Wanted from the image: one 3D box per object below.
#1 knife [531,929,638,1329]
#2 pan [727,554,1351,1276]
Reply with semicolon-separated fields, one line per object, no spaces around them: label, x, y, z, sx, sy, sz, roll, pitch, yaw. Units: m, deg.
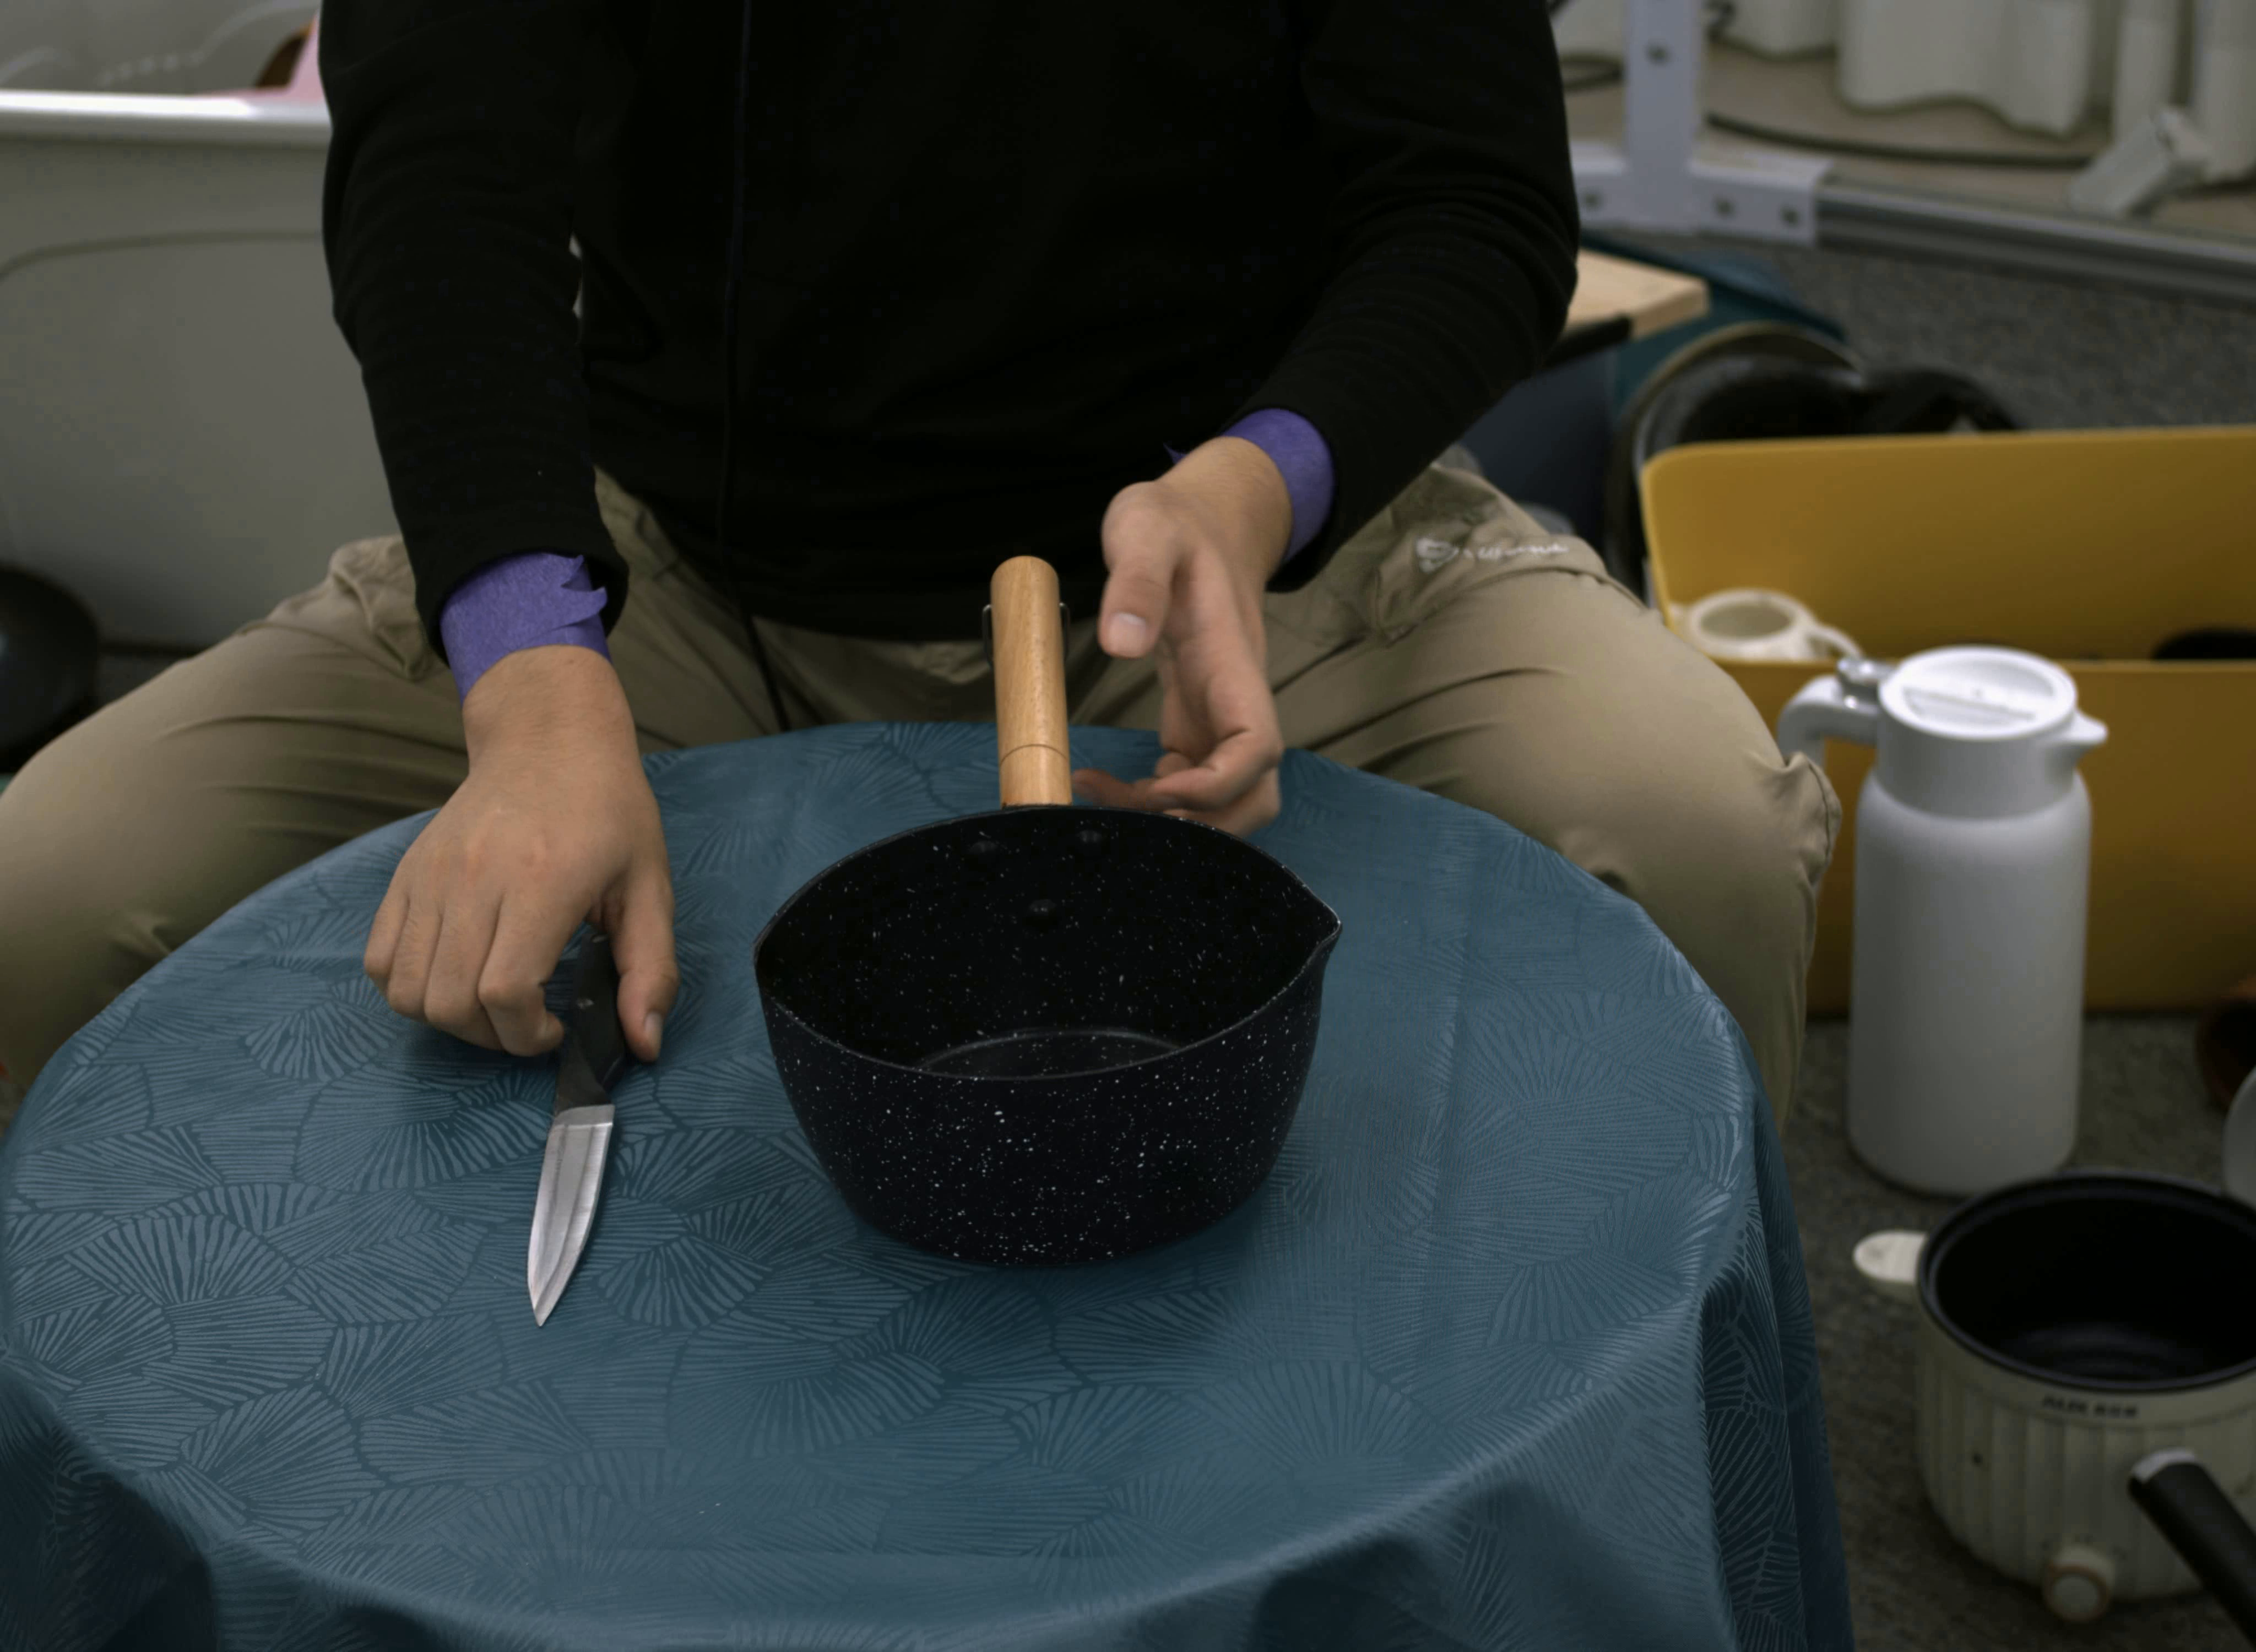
knife;-0.186;0.102;1.904;0.024;0.016;0.242;-4;30;3
pan;-0.031;0.027;1.932;0.206;0.107;0.348;-4;28;-1
